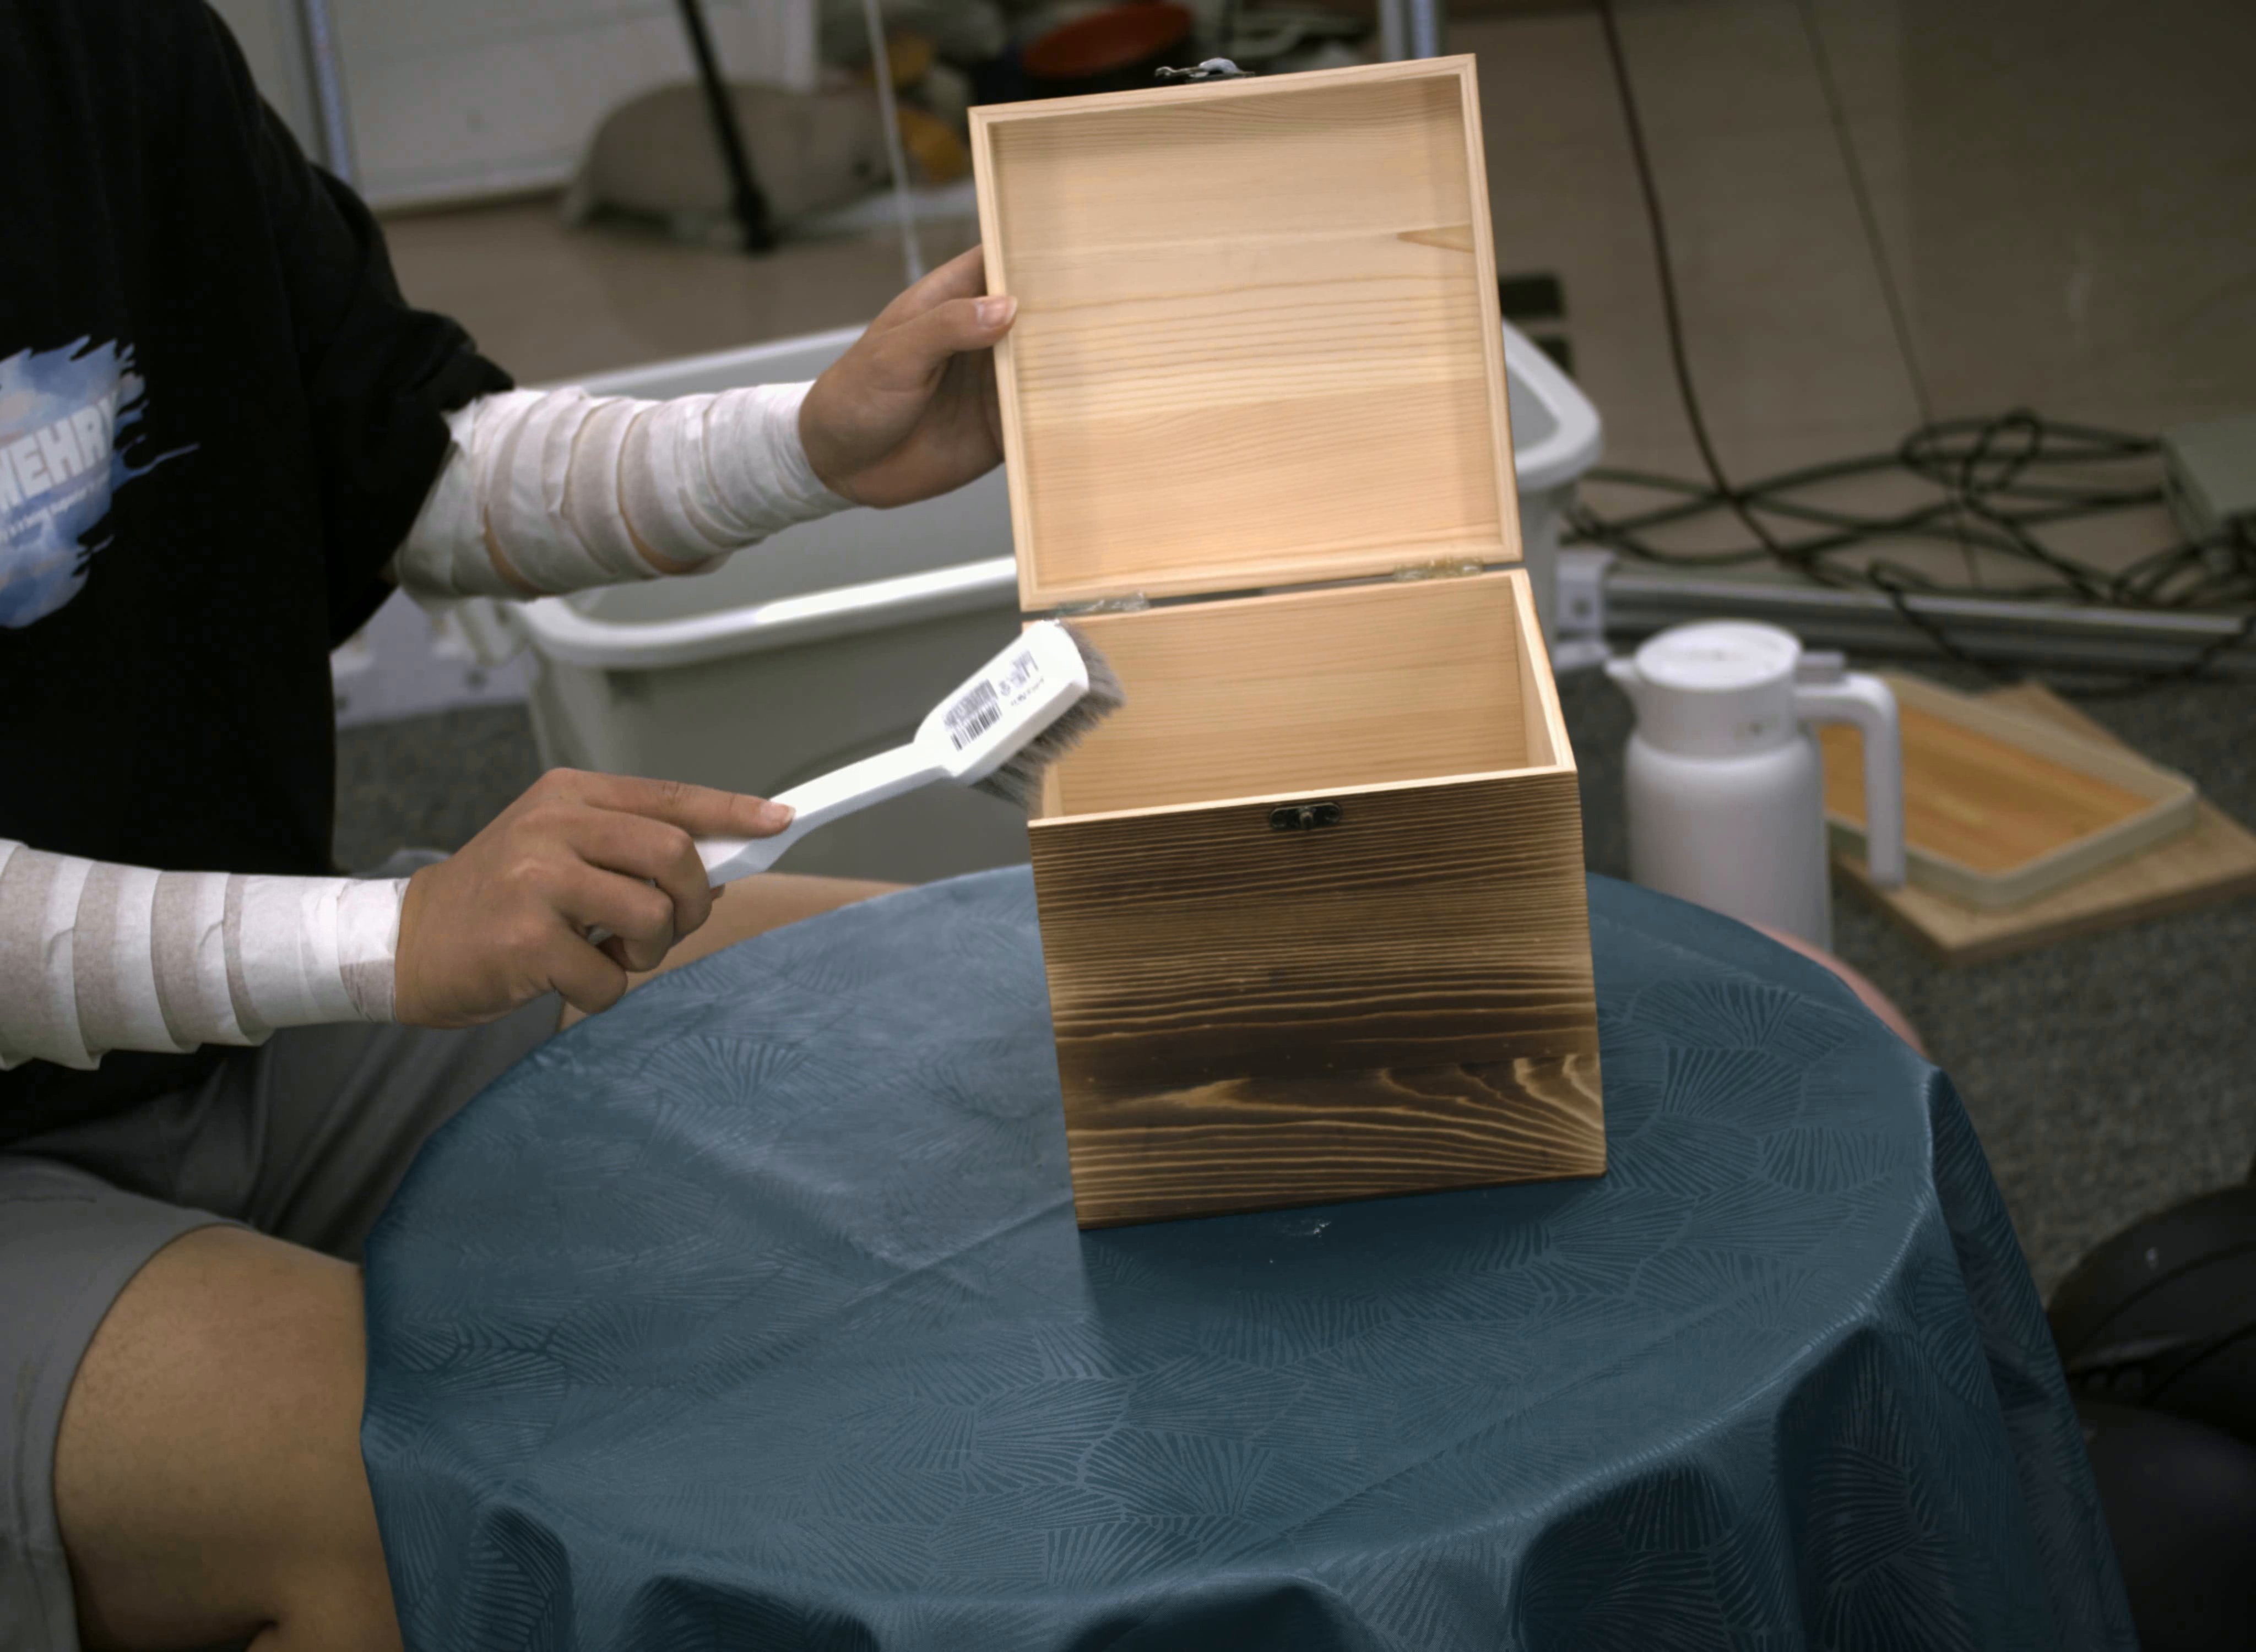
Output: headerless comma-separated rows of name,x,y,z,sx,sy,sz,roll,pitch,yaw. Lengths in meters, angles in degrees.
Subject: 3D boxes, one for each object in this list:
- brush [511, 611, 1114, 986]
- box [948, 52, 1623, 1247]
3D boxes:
brush,-0.115,-0.001,2.080,0.243,0.051,0.034,-32,54,-3
box,0.056,-0.080,2.181,0.208,0.381,0.317,-7,23,2
